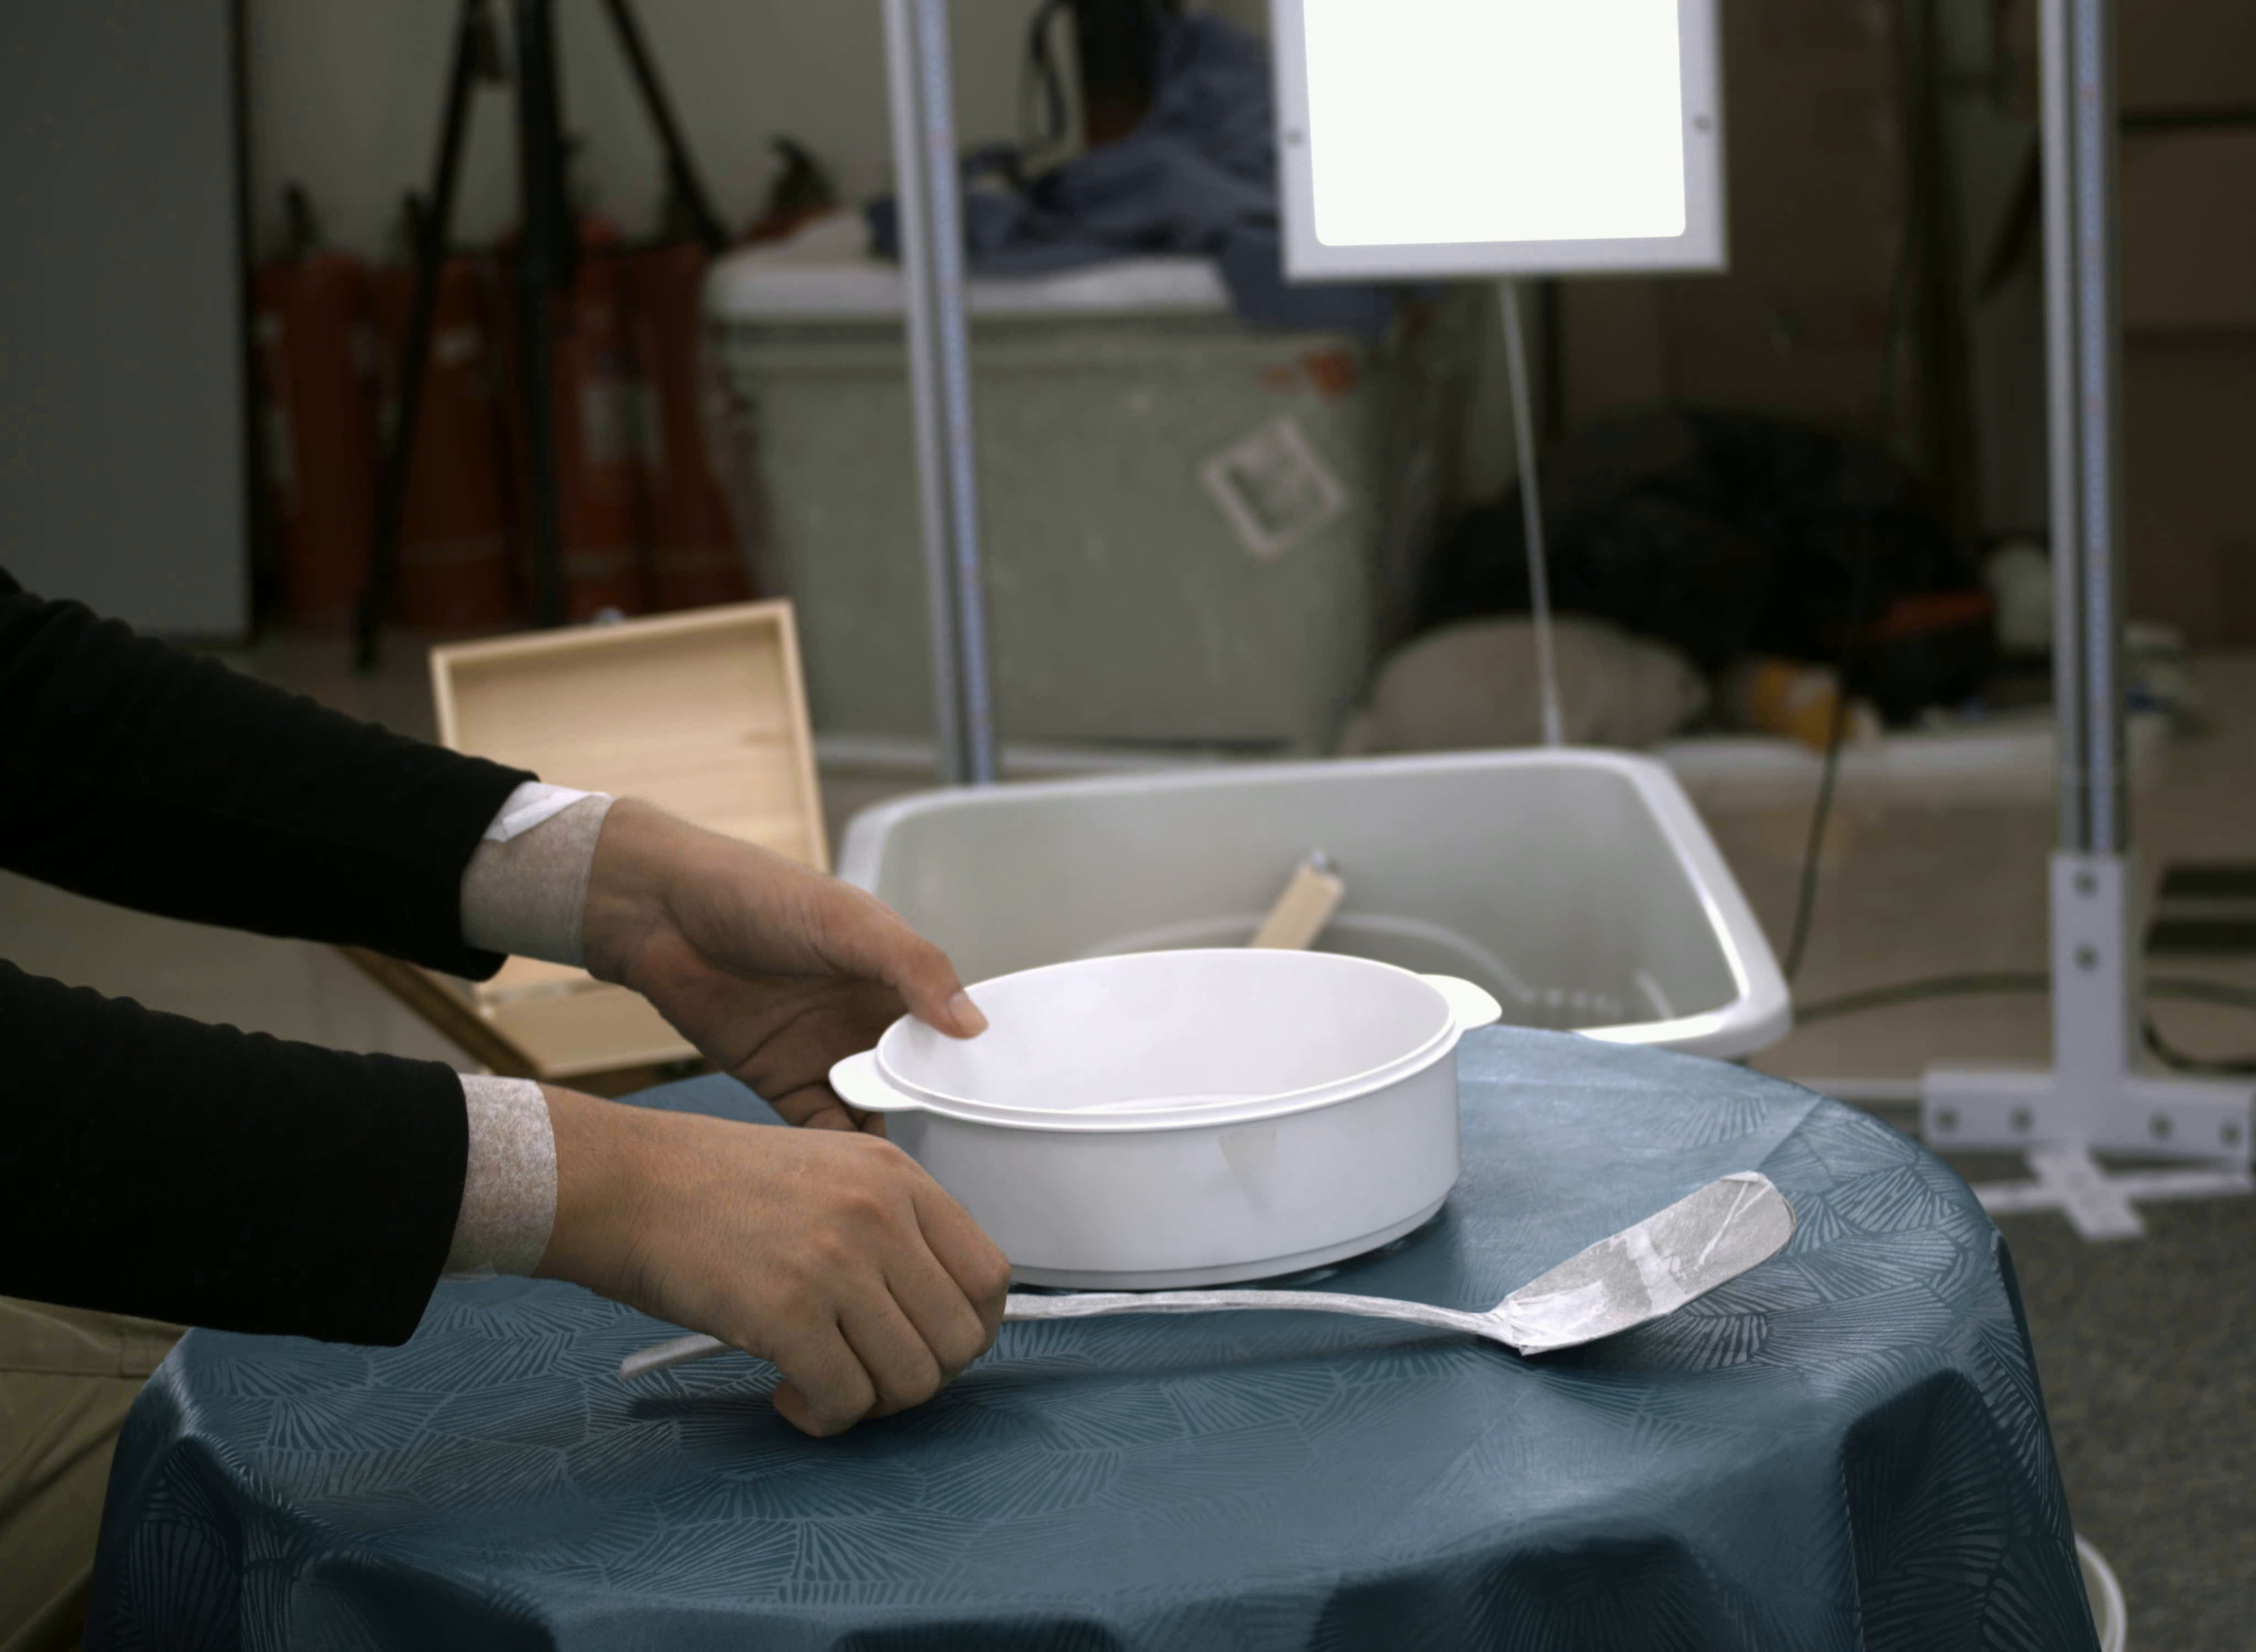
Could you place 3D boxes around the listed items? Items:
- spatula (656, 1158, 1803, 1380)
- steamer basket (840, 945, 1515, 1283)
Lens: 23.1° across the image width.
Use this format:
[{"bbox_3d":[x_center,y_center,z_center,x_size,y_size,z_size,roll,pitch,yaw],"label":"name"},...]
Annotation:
[{"bbox_3d":[0.030,0.145,1.723,0.365,0.045,0.098,-3,15,4],"label":"spatula"},{"bbox_3d":[0.020,0.098,1.862,0.228,0.069,0.203,-8,13,-10],"label":"steamer basket"}]
